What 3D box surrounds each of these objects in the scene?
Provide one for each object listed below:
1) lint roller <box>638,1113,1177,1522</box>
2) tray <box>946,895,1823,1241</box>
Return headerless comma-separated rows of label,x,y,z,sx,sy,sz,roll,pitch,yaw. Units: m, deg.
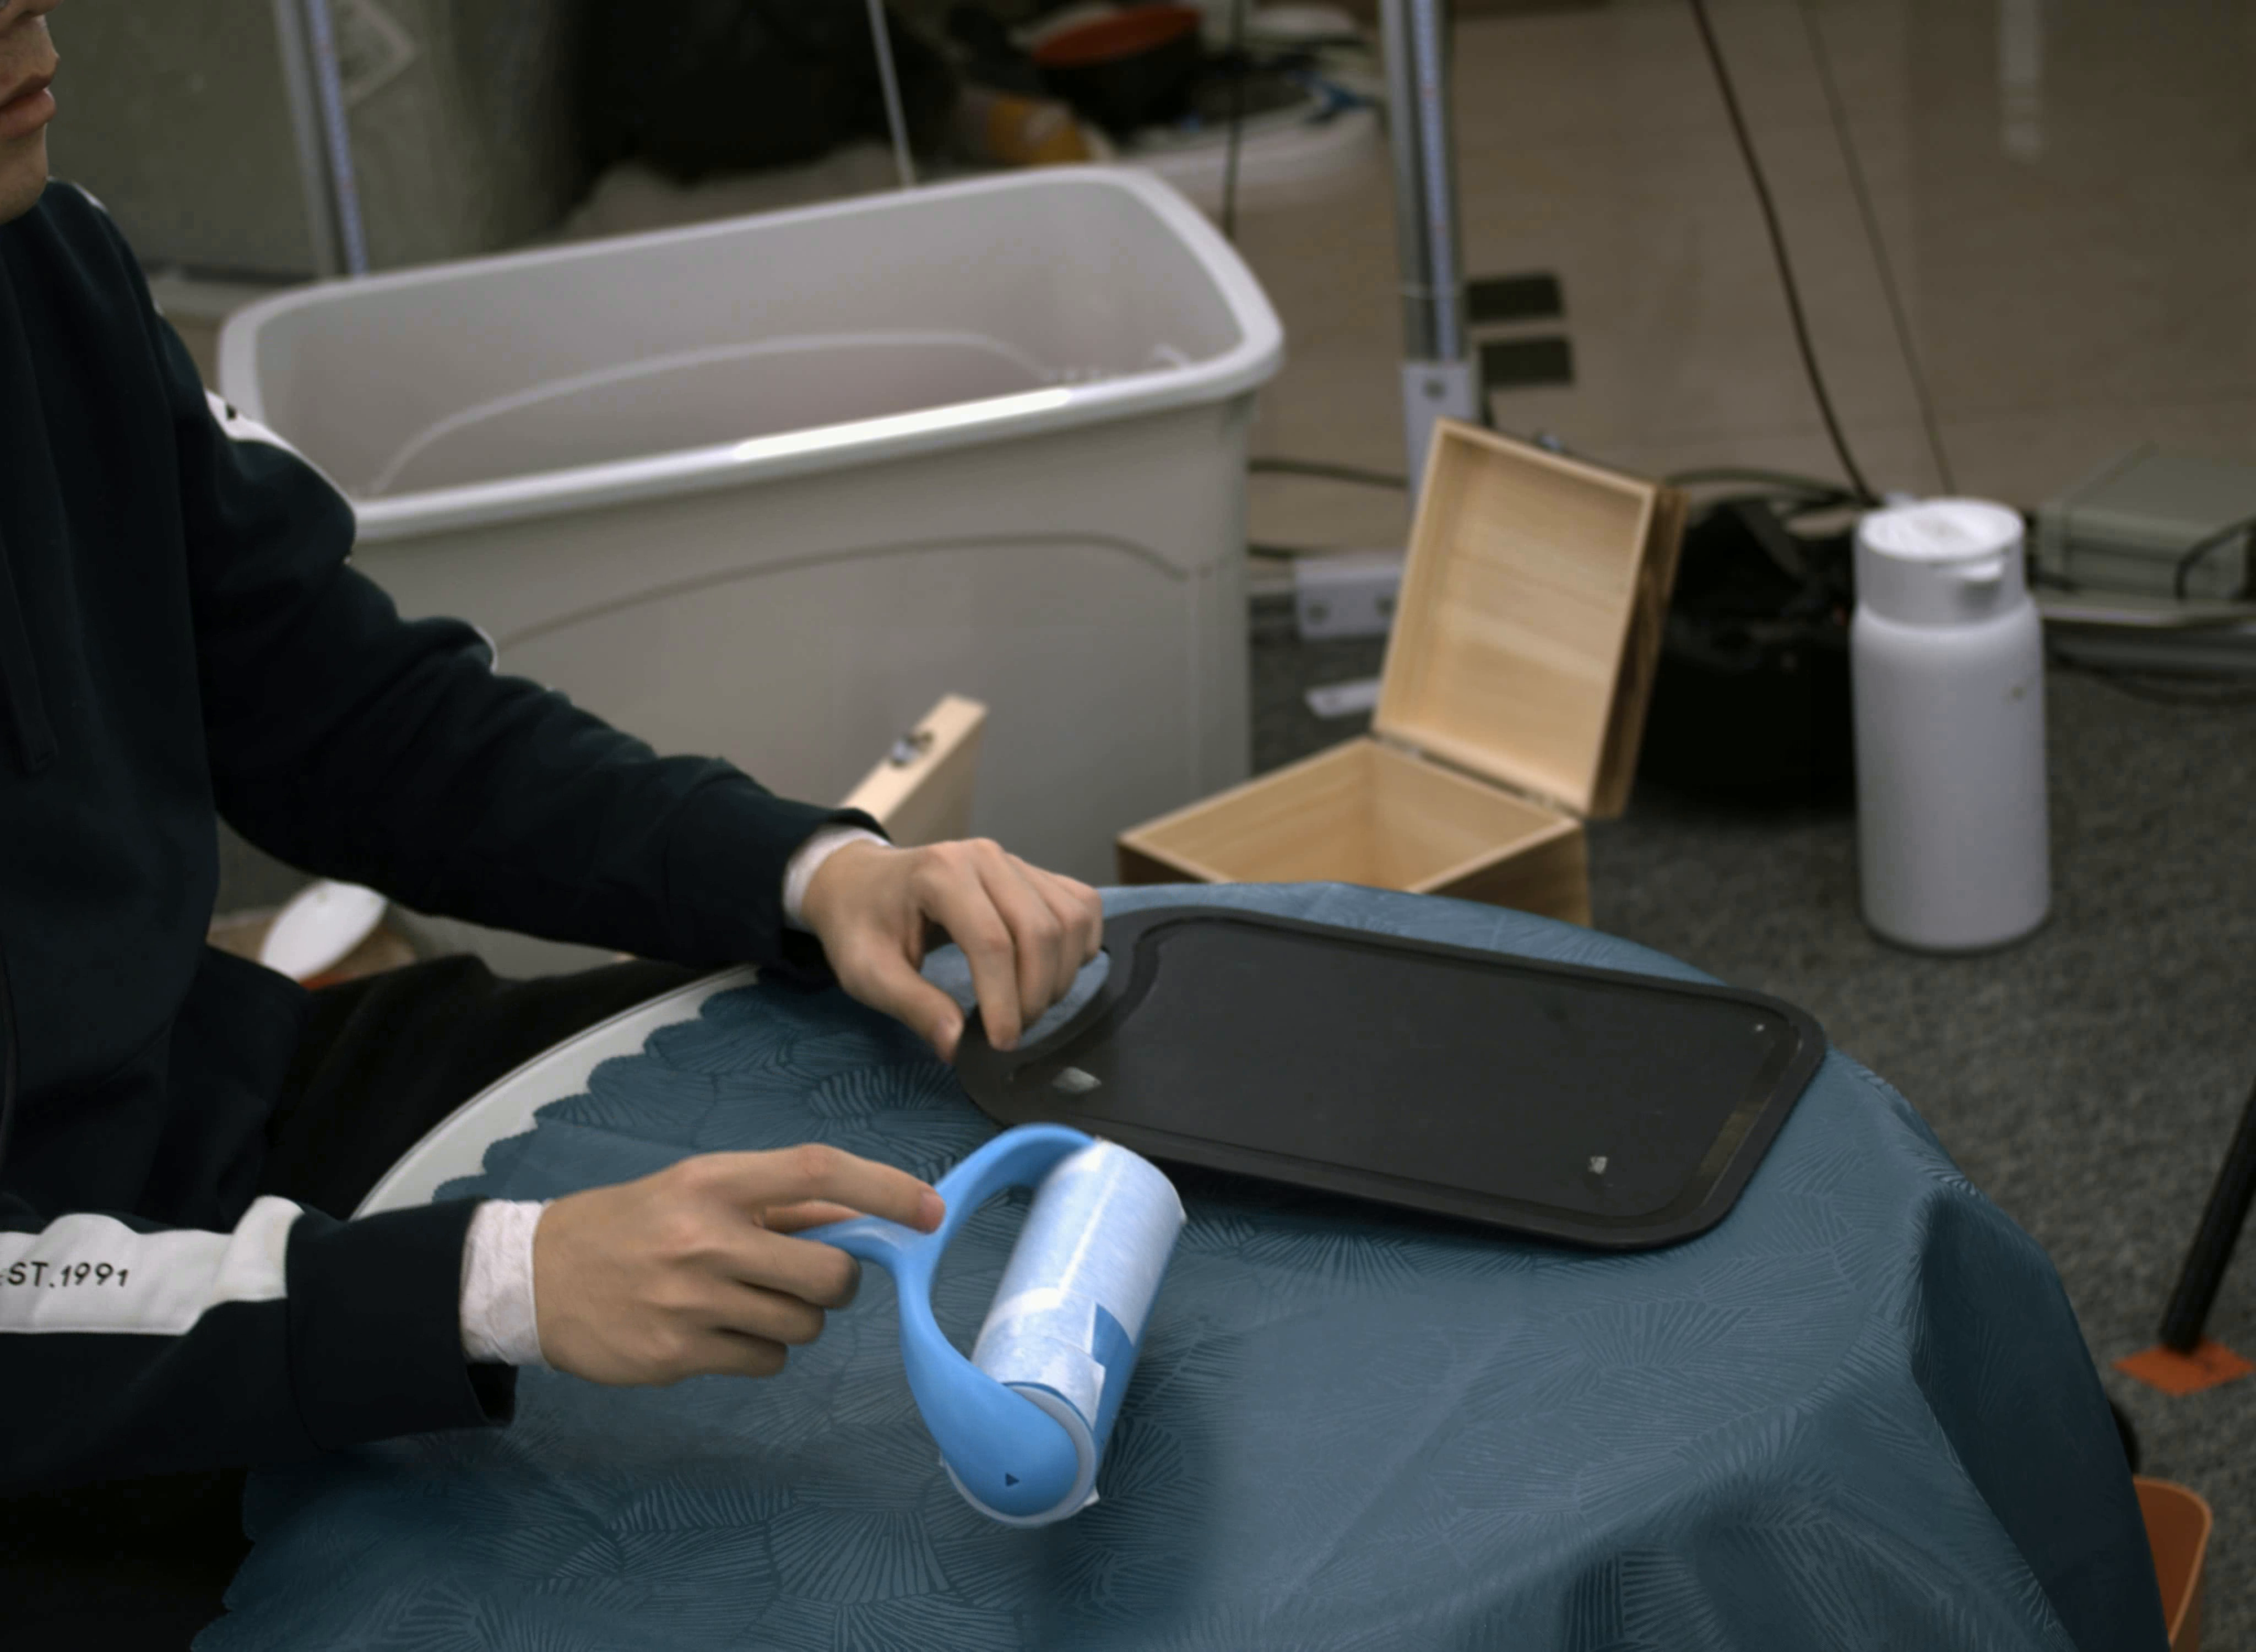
lint roller,-0.081,0.164,1.963,0.180,0.069,0.225,5,24,4
tray,0.092,0.088,2.186,0.324,0.010,0.208,10,28,20
